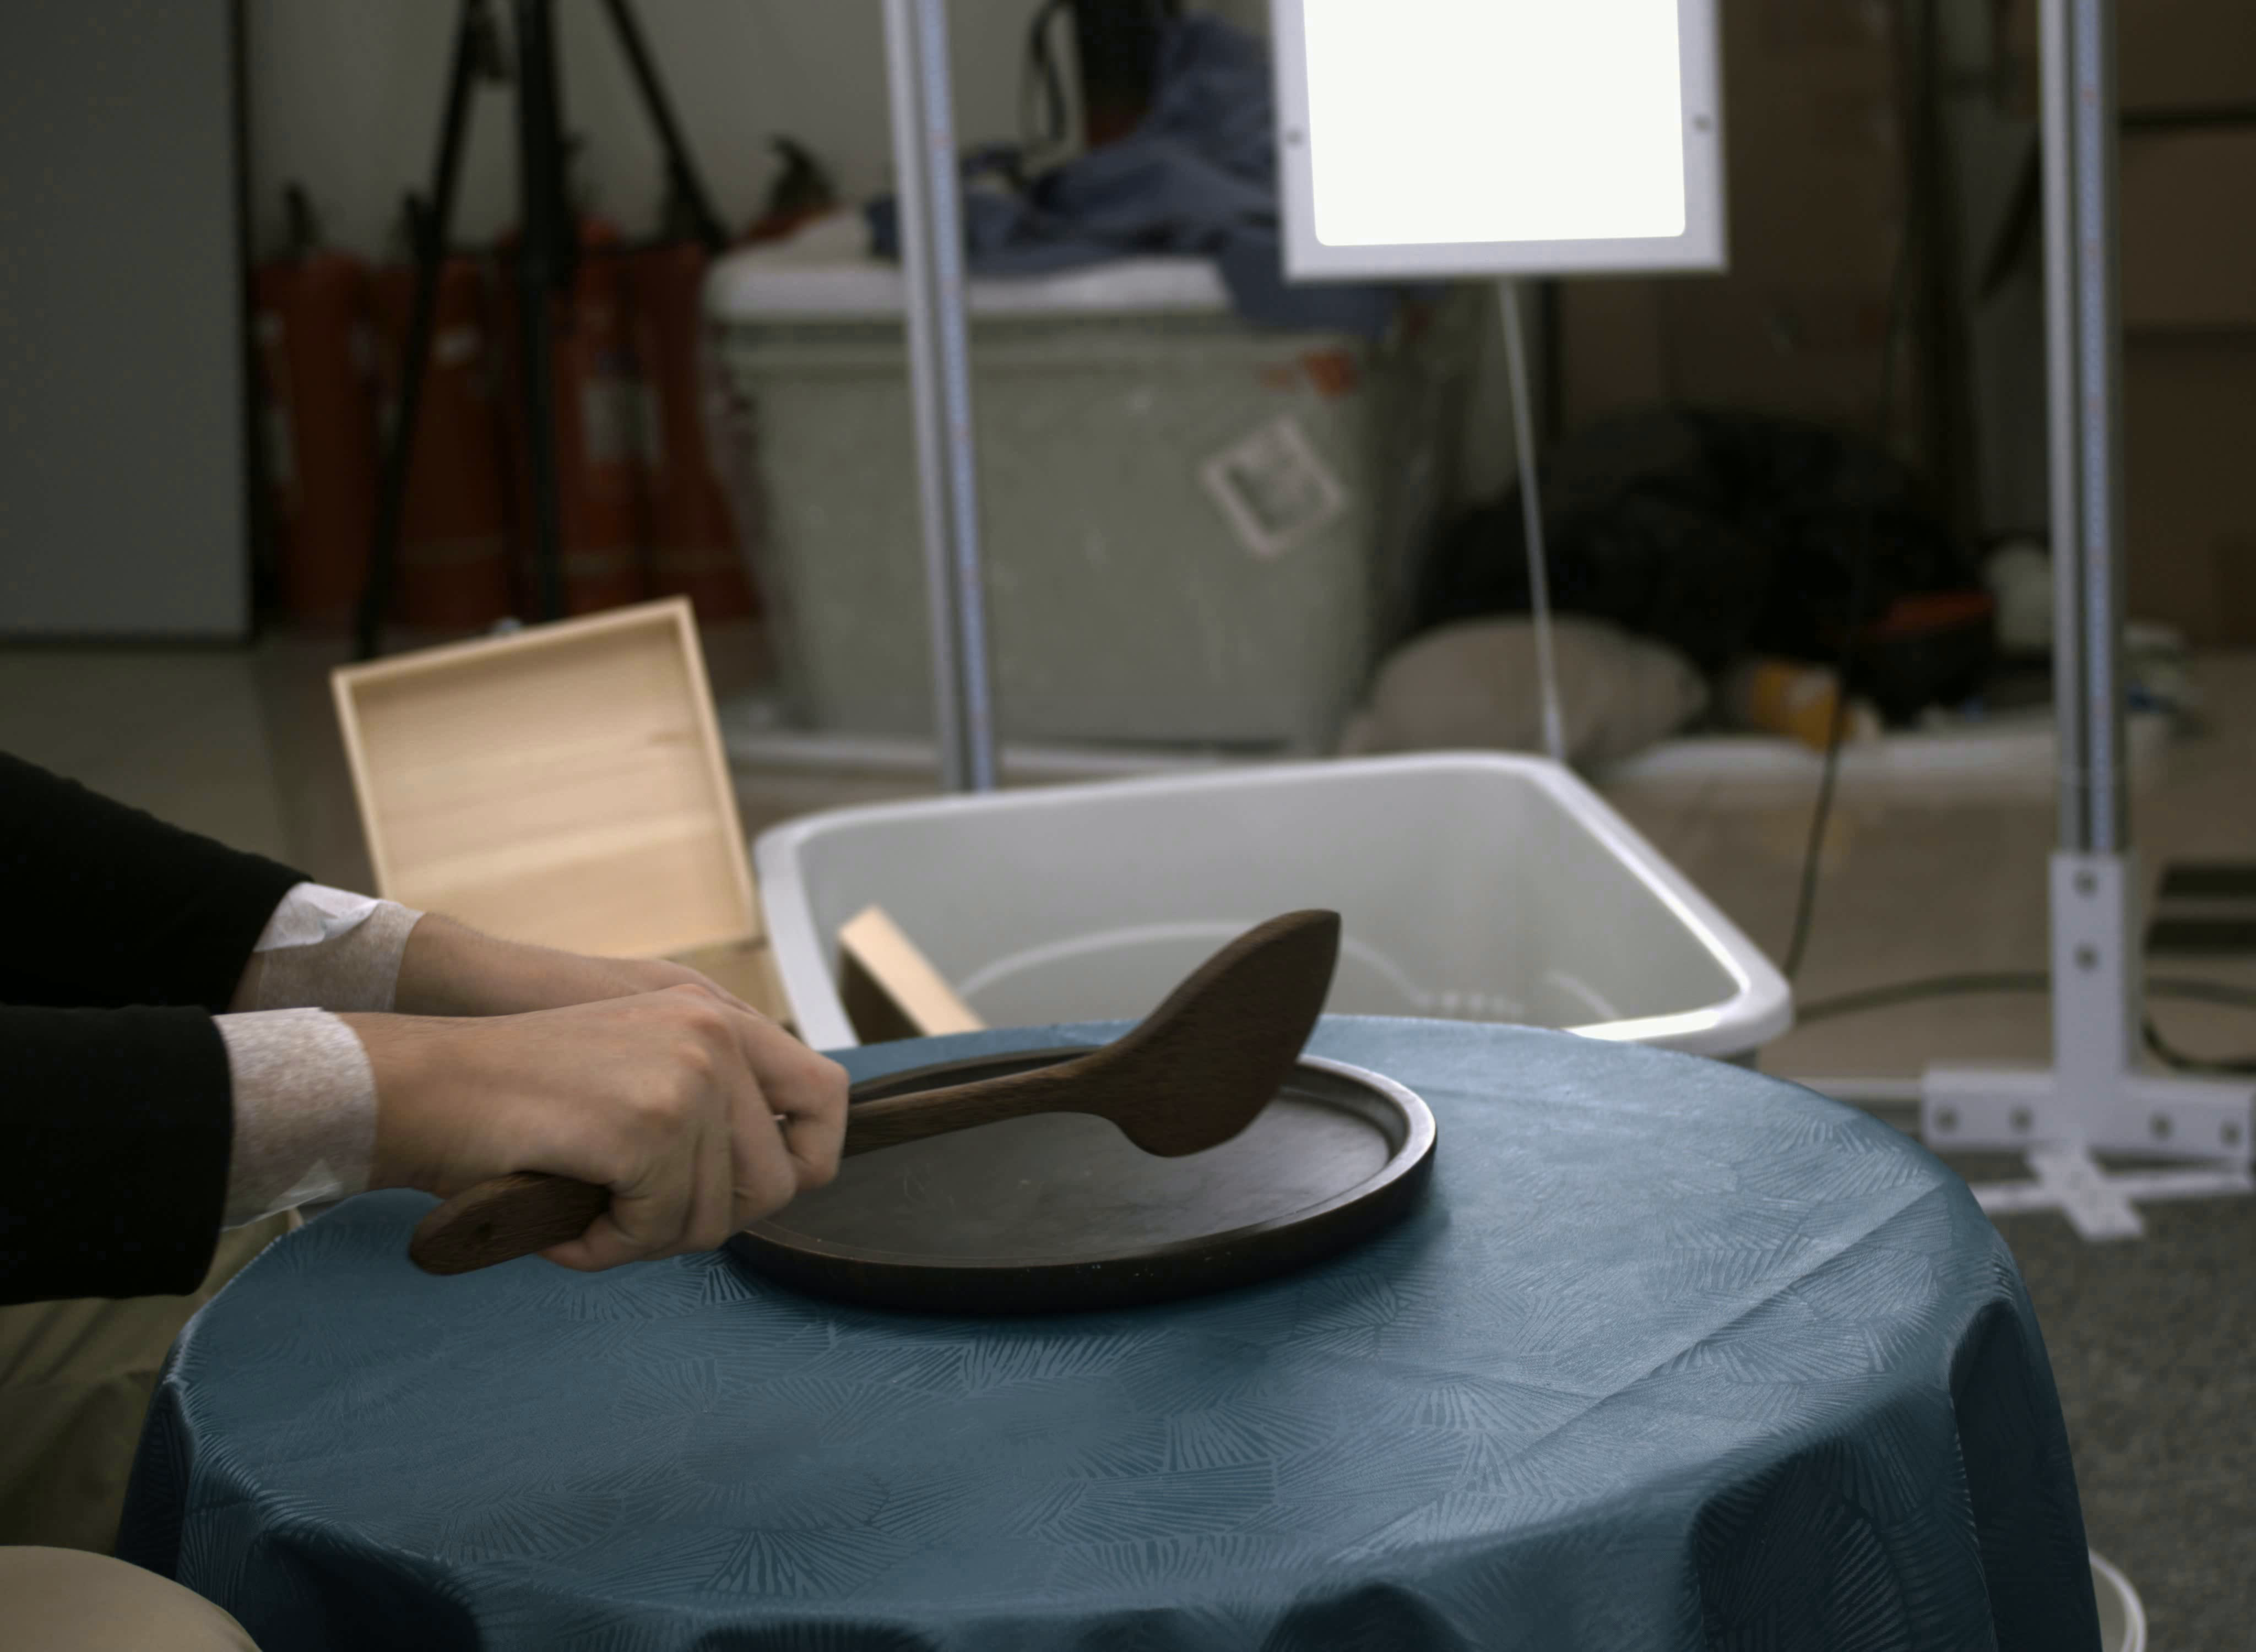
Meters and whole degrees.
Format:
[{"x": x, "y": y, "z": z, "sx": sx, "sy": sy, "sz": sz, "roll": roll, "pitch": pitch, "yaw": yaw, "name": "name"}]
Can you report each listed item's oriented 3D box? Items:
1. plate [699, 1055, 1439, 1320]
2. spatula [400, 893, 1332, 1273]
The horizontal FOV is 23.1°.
[{"x": -0.020, "y": 0.121, "z": 1.884, "sx": 0.254, "sy": 0.029, "sz": 0.254, "roll": -4, "pitch": 15, "yaw": 0, "name": "plate"}, {"x": -0.072, "y": 0.088, "z": 1.692, "sx": 0.376, "sy": 0.097, "sz": 0.016, "roll": -11, "pitch": 42, "yaw": -42, "name": "spatula"}]
